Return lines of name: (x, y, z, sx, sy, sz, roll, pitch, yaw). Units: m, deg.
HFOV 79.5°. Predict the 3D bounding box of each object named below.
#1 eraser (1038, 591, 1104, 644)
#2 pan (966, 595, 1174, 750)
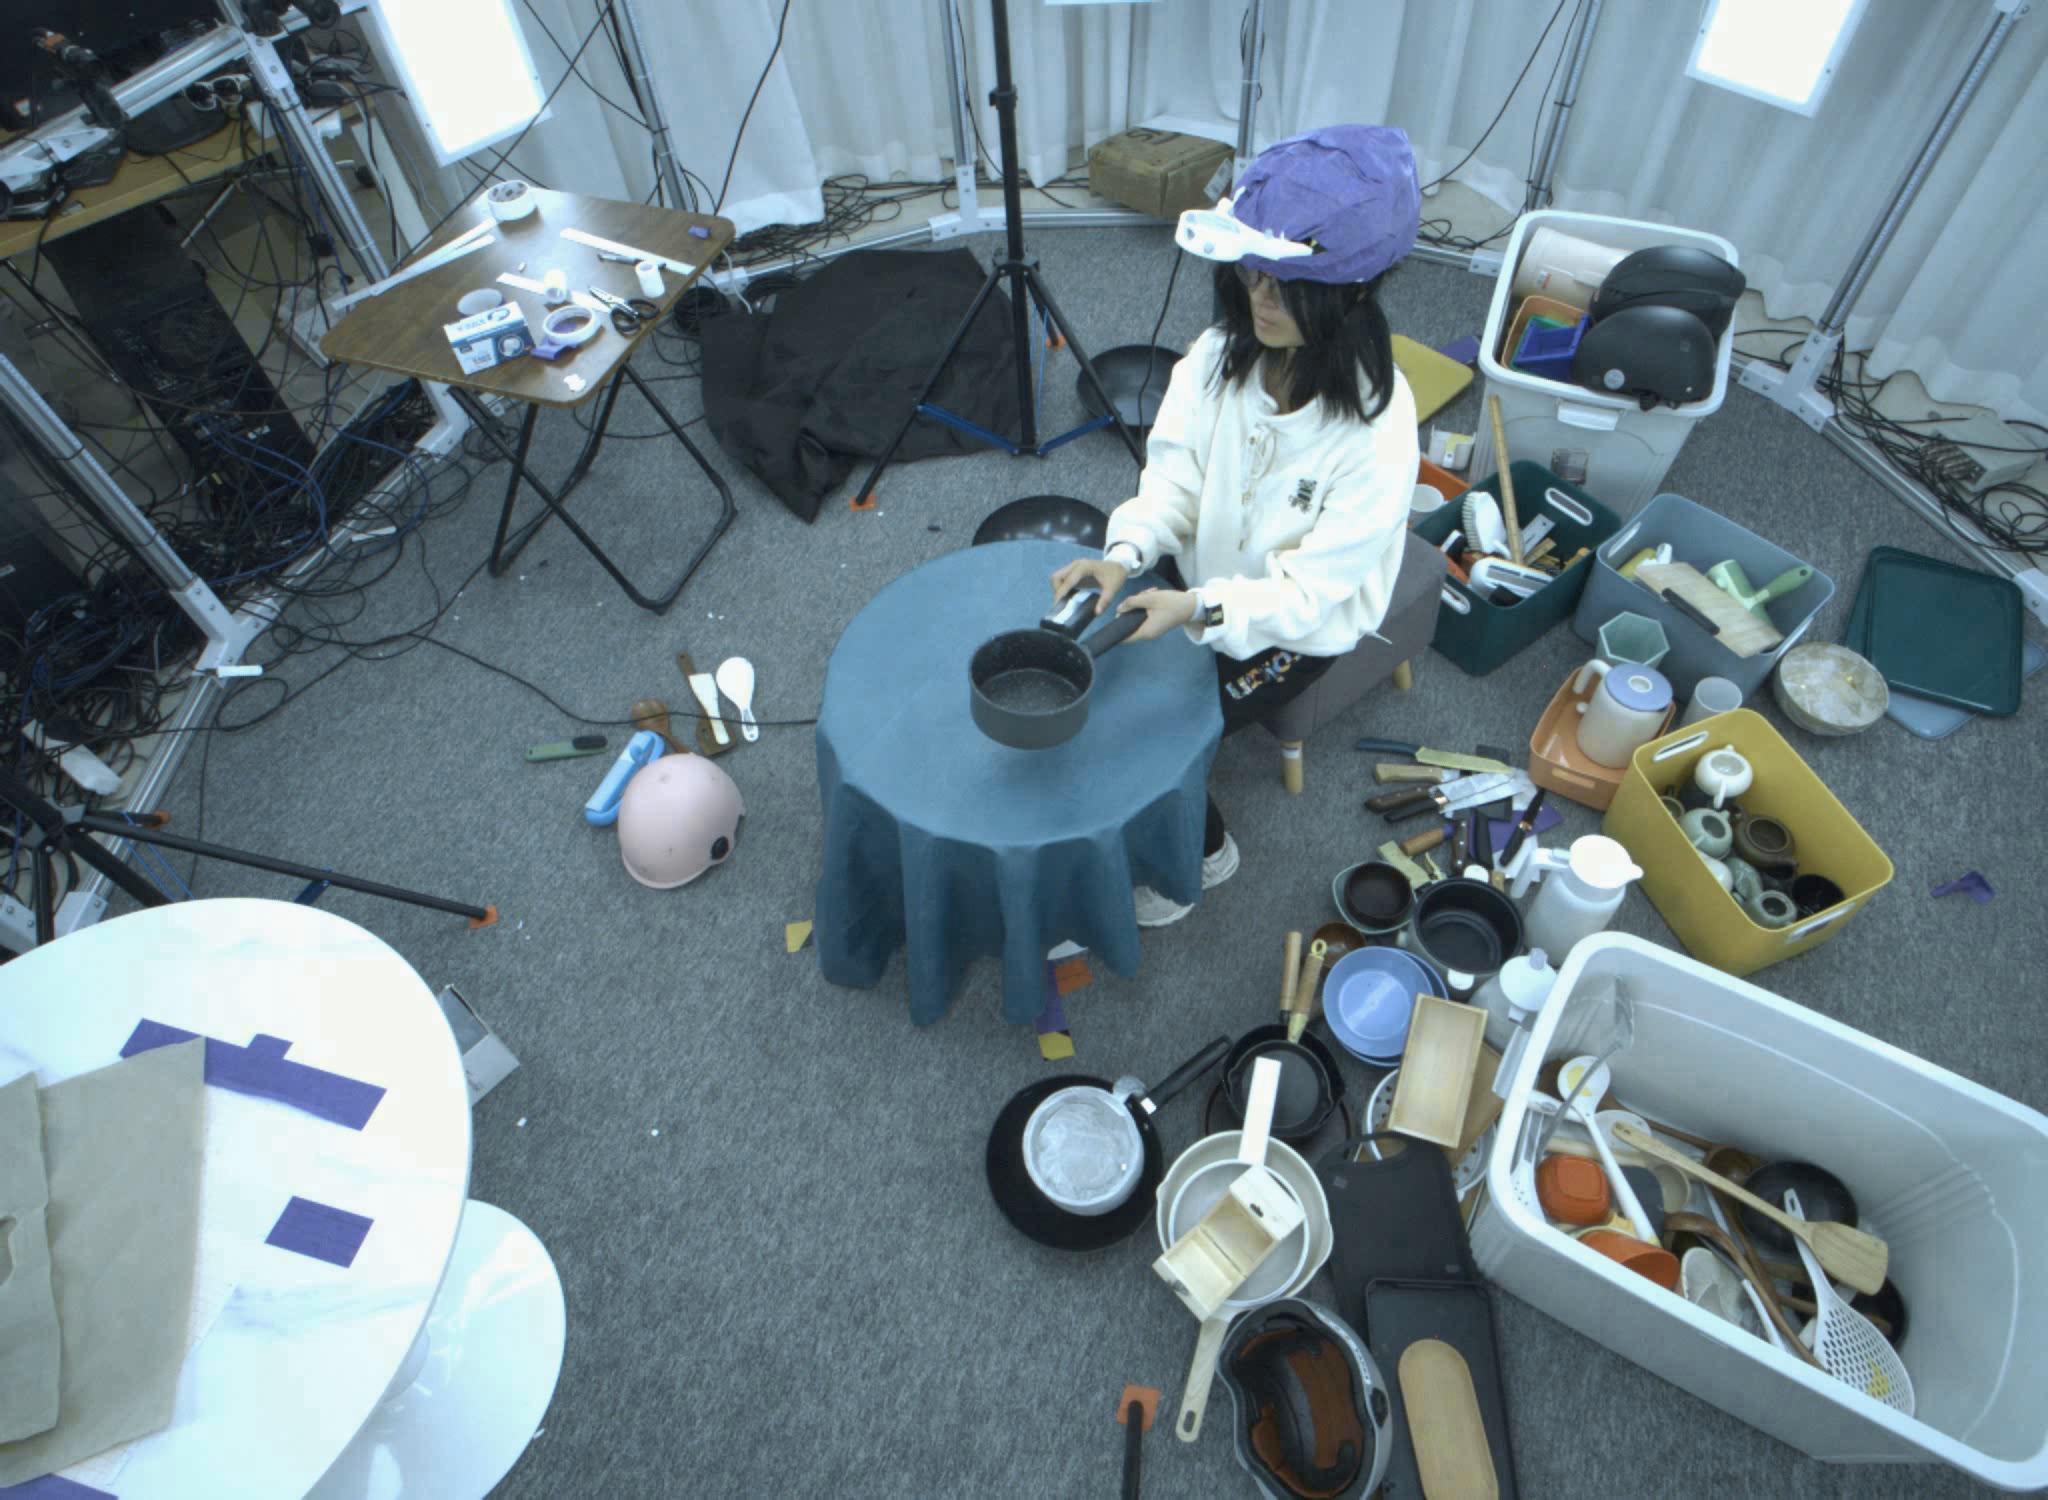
eraser: (0.067, -0.189, 1.752, 0.053, 0.030, 0.126, 17, 32, 17)
pan: (0.071, -0.117, 1.701, 0.332, 0.087, 0.168, -28, 55, -25)
